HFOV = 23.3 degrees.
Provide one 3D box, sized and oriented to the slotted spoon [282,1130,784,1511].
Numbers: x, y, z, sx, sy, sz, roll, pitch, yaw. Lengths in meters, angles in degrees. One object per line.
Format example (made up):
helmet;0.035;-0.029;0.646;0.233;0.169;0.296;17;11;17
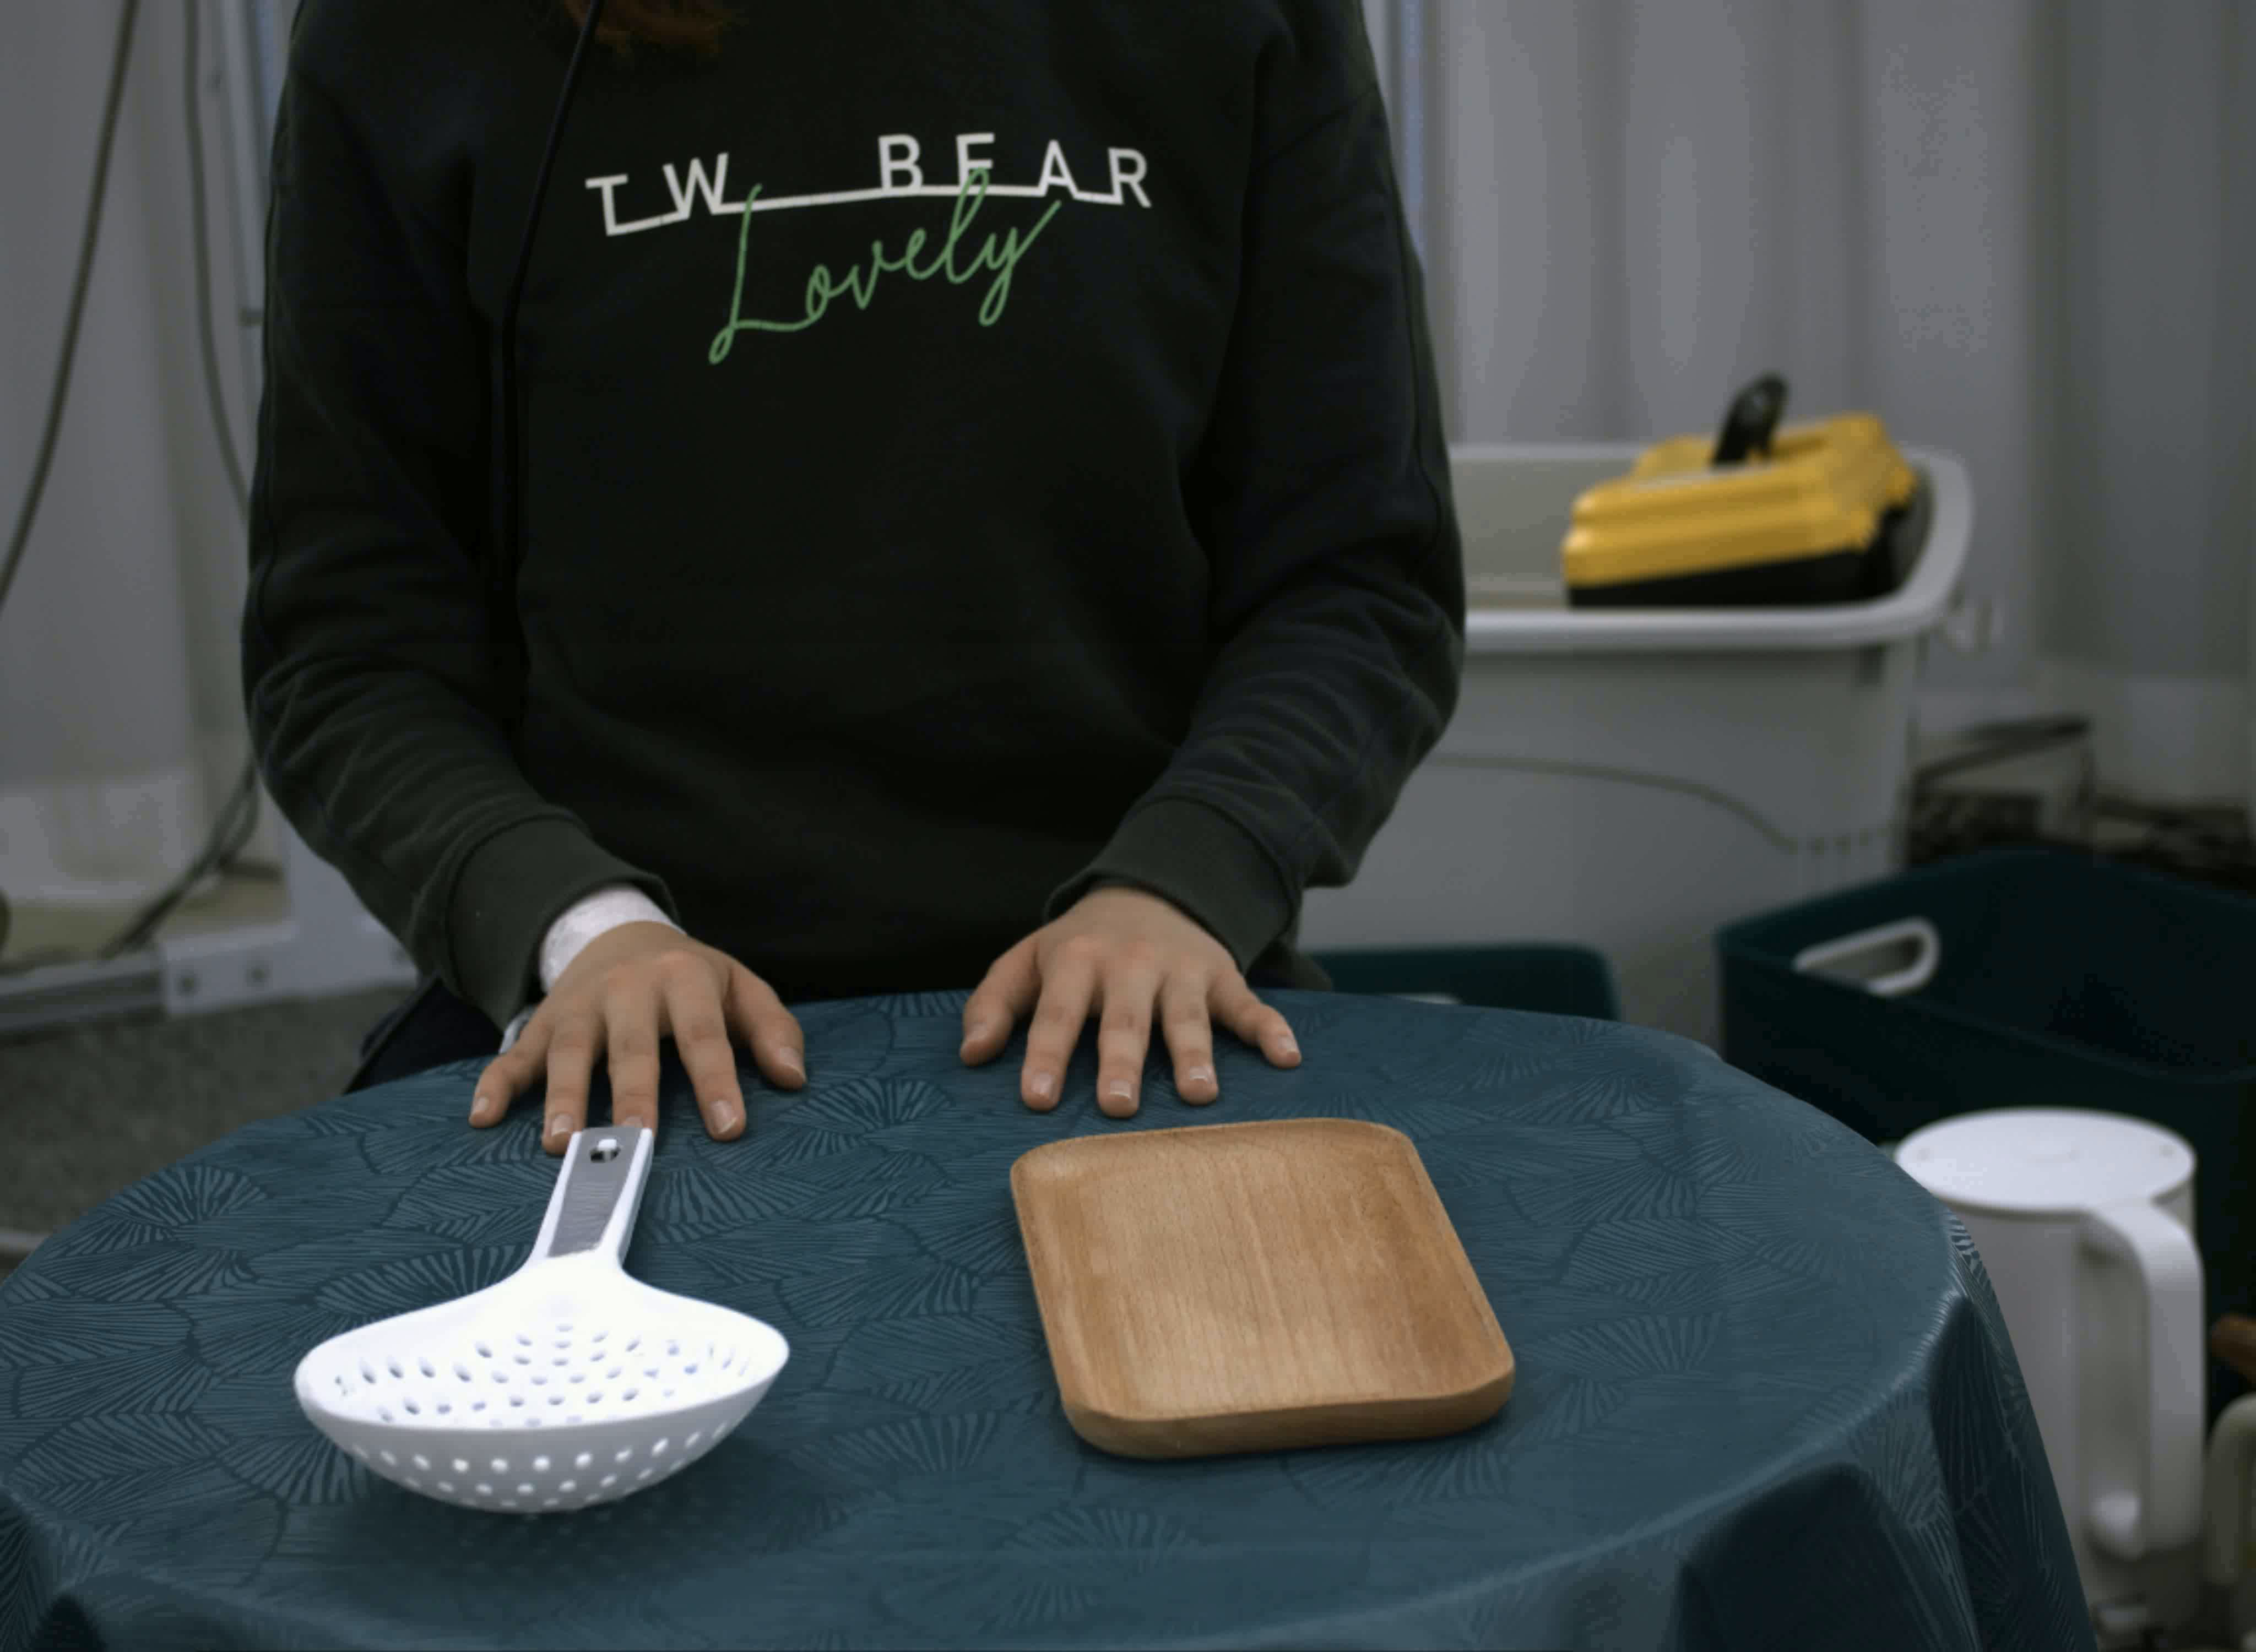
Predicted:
slotted spoon;-0.162;0.134;1.586;0.135;0.045;0.352;-1;14;-1

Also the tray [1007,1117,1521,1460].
tray;0.036;0.133;1.607;0.130;0.023;0.252;-2;14;-5
